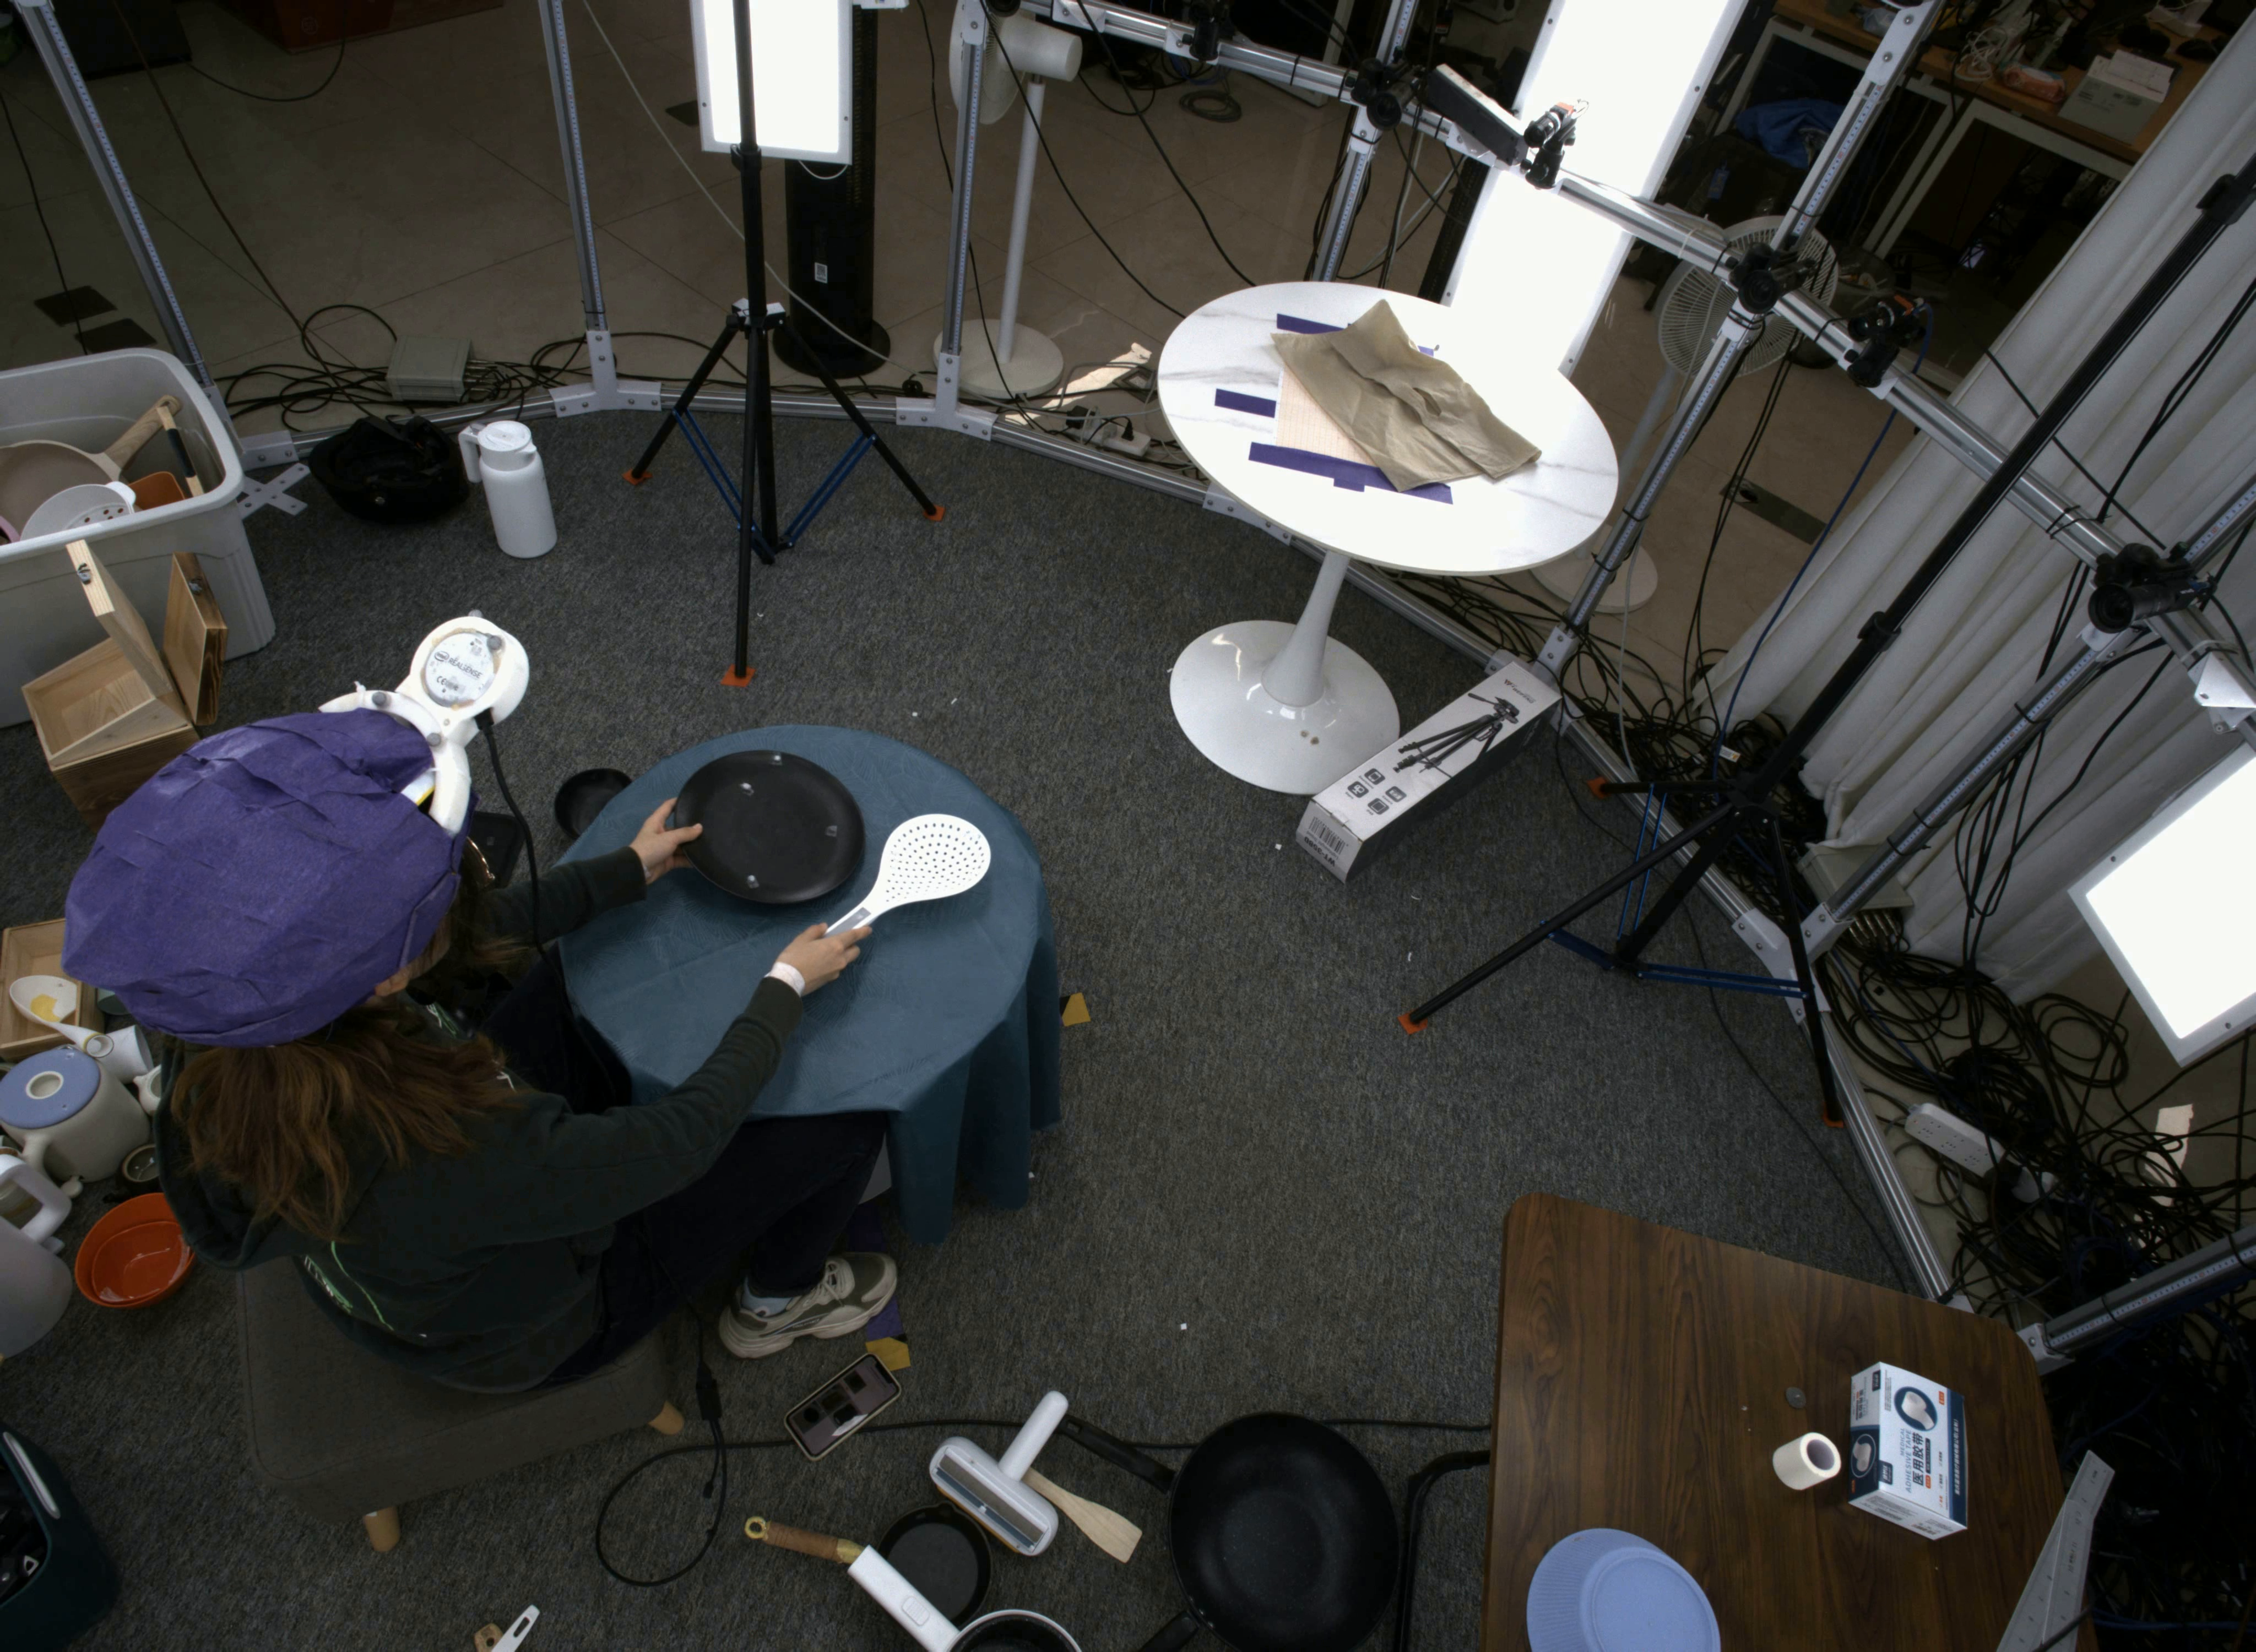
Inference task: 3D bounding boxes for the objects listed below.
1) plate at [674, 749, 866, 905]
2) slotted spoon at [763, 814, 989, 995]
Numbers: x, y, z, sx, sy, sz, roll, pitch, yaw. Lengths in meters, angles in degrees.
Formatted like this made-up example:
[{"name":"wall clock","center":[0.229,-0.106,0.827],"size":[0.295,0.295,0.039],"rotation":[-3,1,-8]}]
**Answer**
[{"name":"plate","center":[-0.462,0.002,1.675],"size":[0.247,0.023,0.240],"rotation":[16,51,-18]},{"name":"slotted spoon","center":[-0.316,0.097,1.632],"size":[0.132,0.047,0.350],"rotation":[35,48,19]}]
